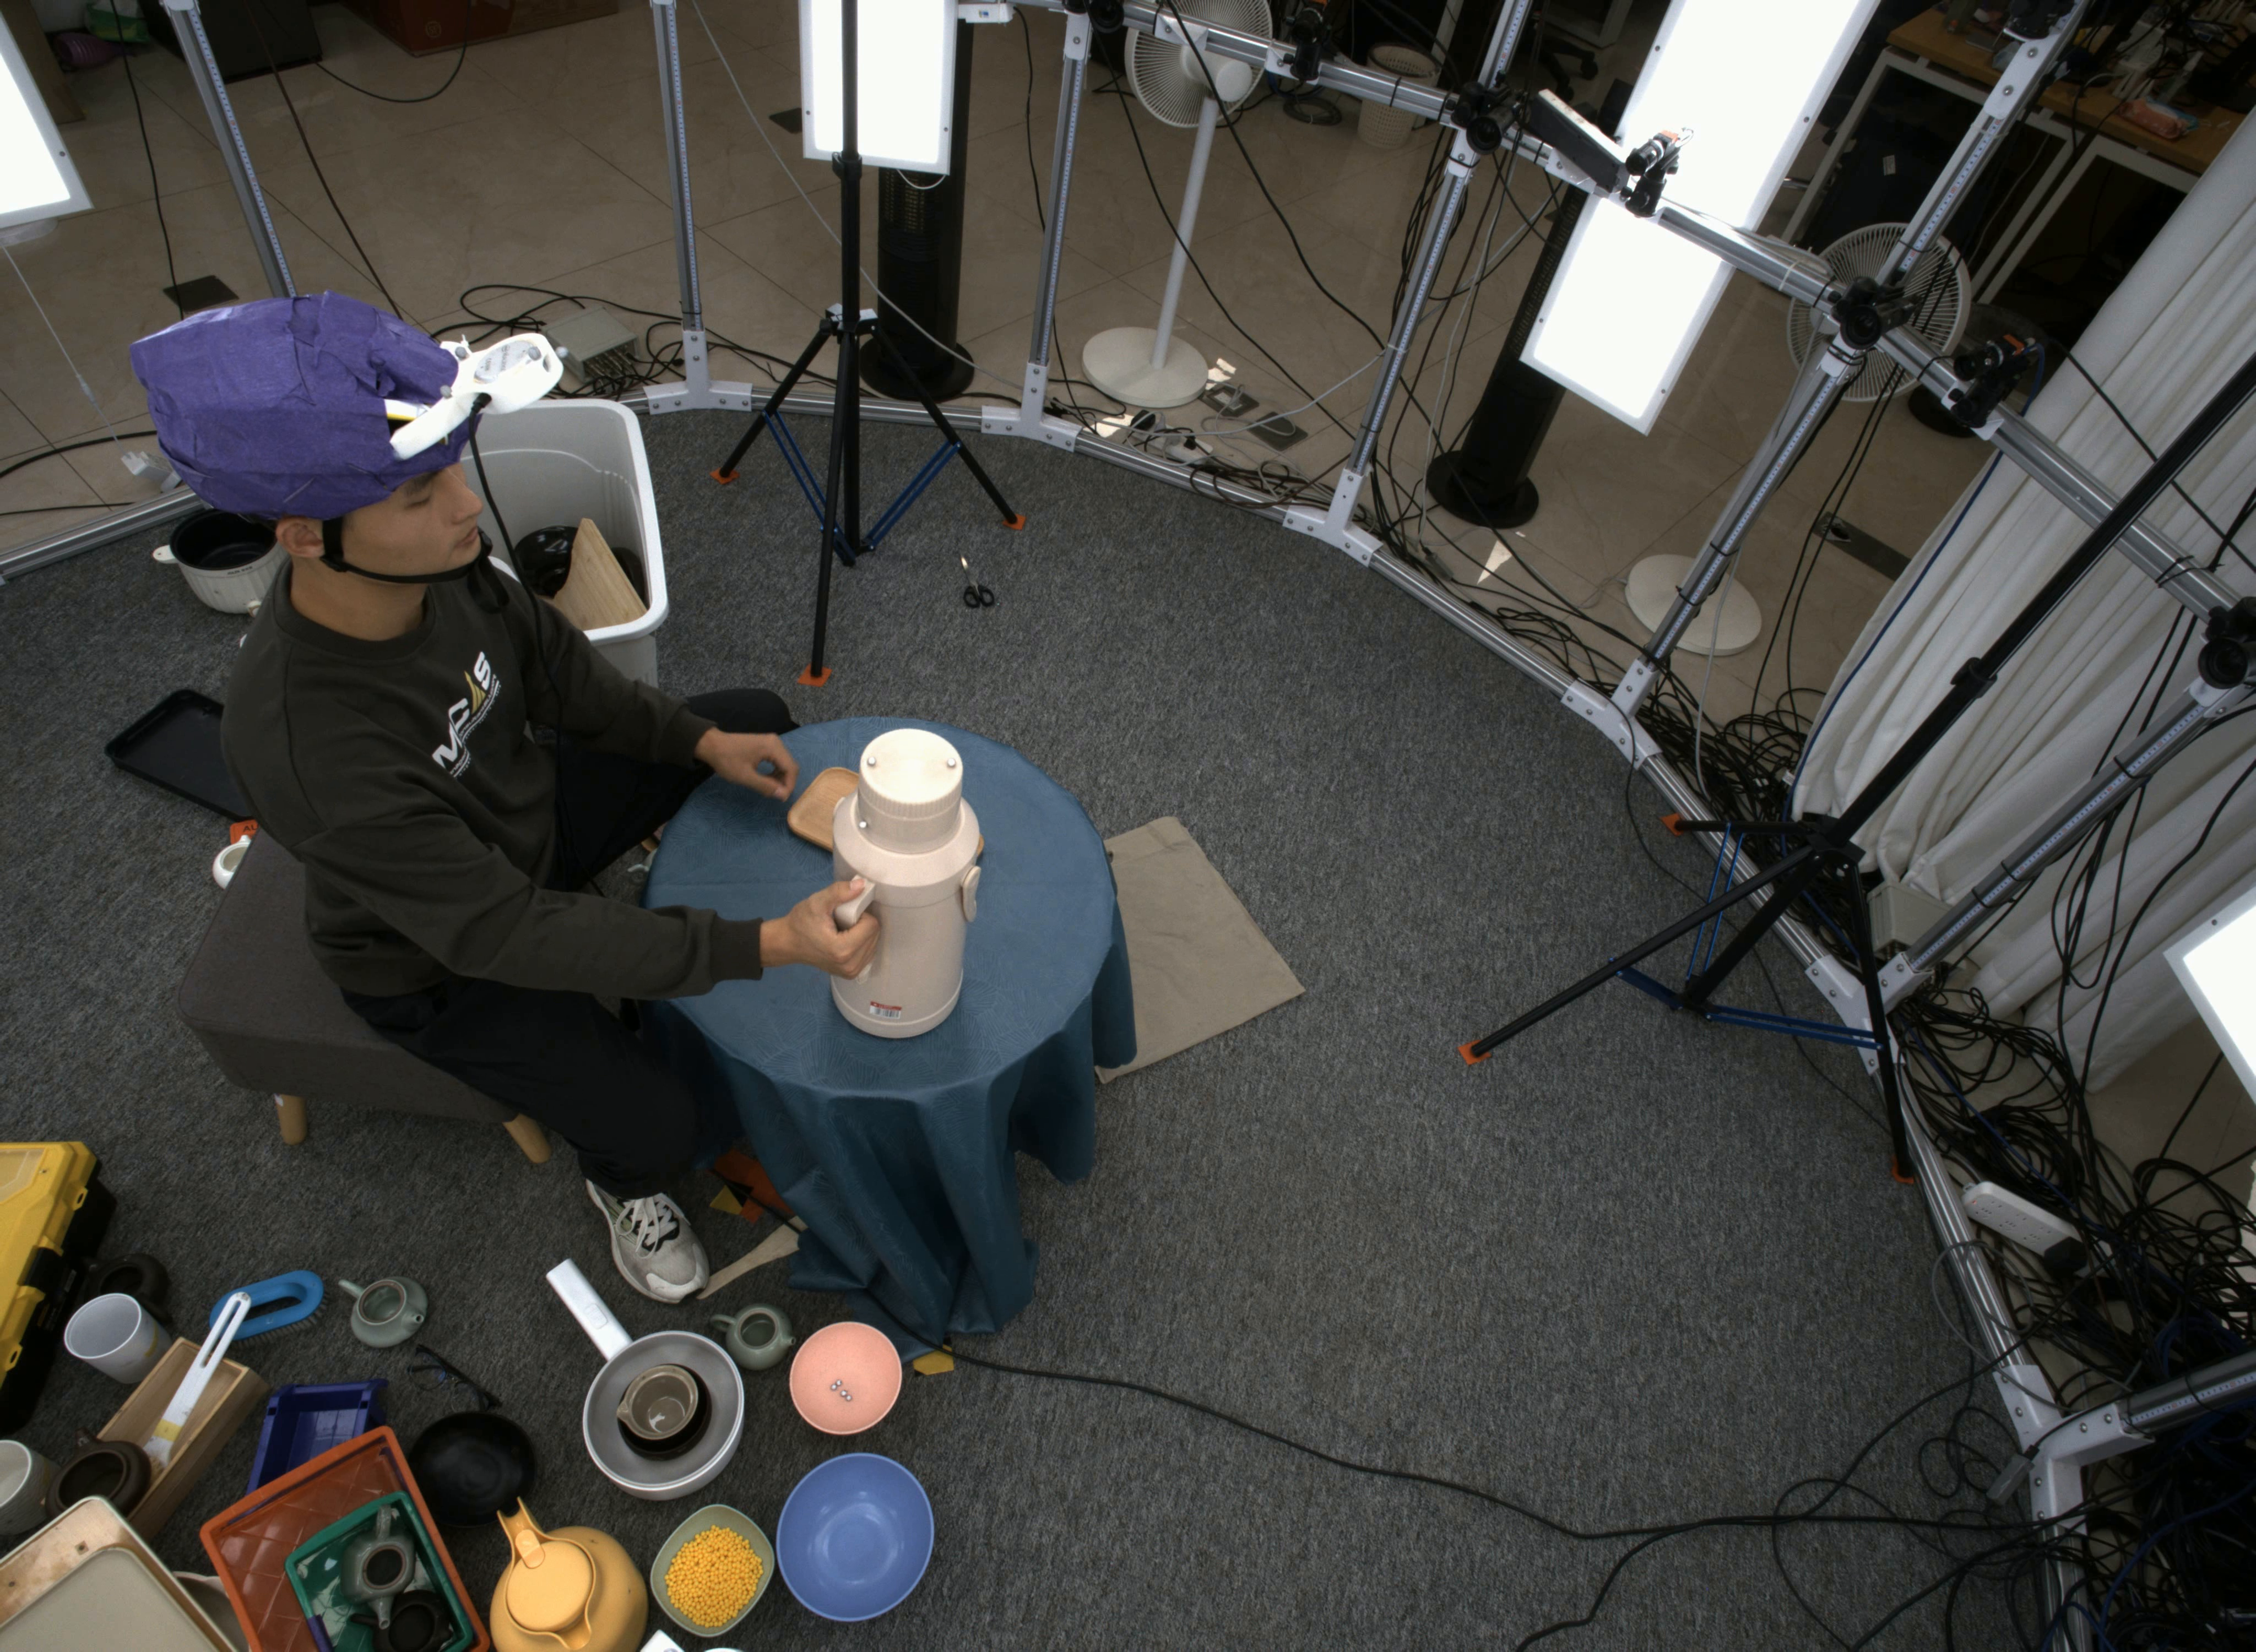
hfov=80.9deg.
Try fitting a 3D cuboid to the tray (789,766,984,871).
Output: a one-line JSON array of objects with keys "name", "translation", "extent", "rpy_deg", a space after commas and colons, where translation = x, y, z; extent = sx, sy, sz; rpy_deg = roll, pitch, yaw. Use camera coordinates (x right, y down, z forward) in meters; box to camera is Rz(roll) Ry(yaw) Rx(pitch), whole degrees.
[{"name": "tray", "translation": [-0.323, 0.008, 1.743], "extent": [0.247, 0.023, 0.130], "rpy_deg": [25, 50, 7]}]

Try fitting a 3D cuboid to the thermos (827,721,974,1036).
[{"name": "thermos", "translation": [-0.266, 0.071, 1.460], "extent": [0.172, 0.415, 0.206], "rpy_deg": [26, 50, 9]}]
